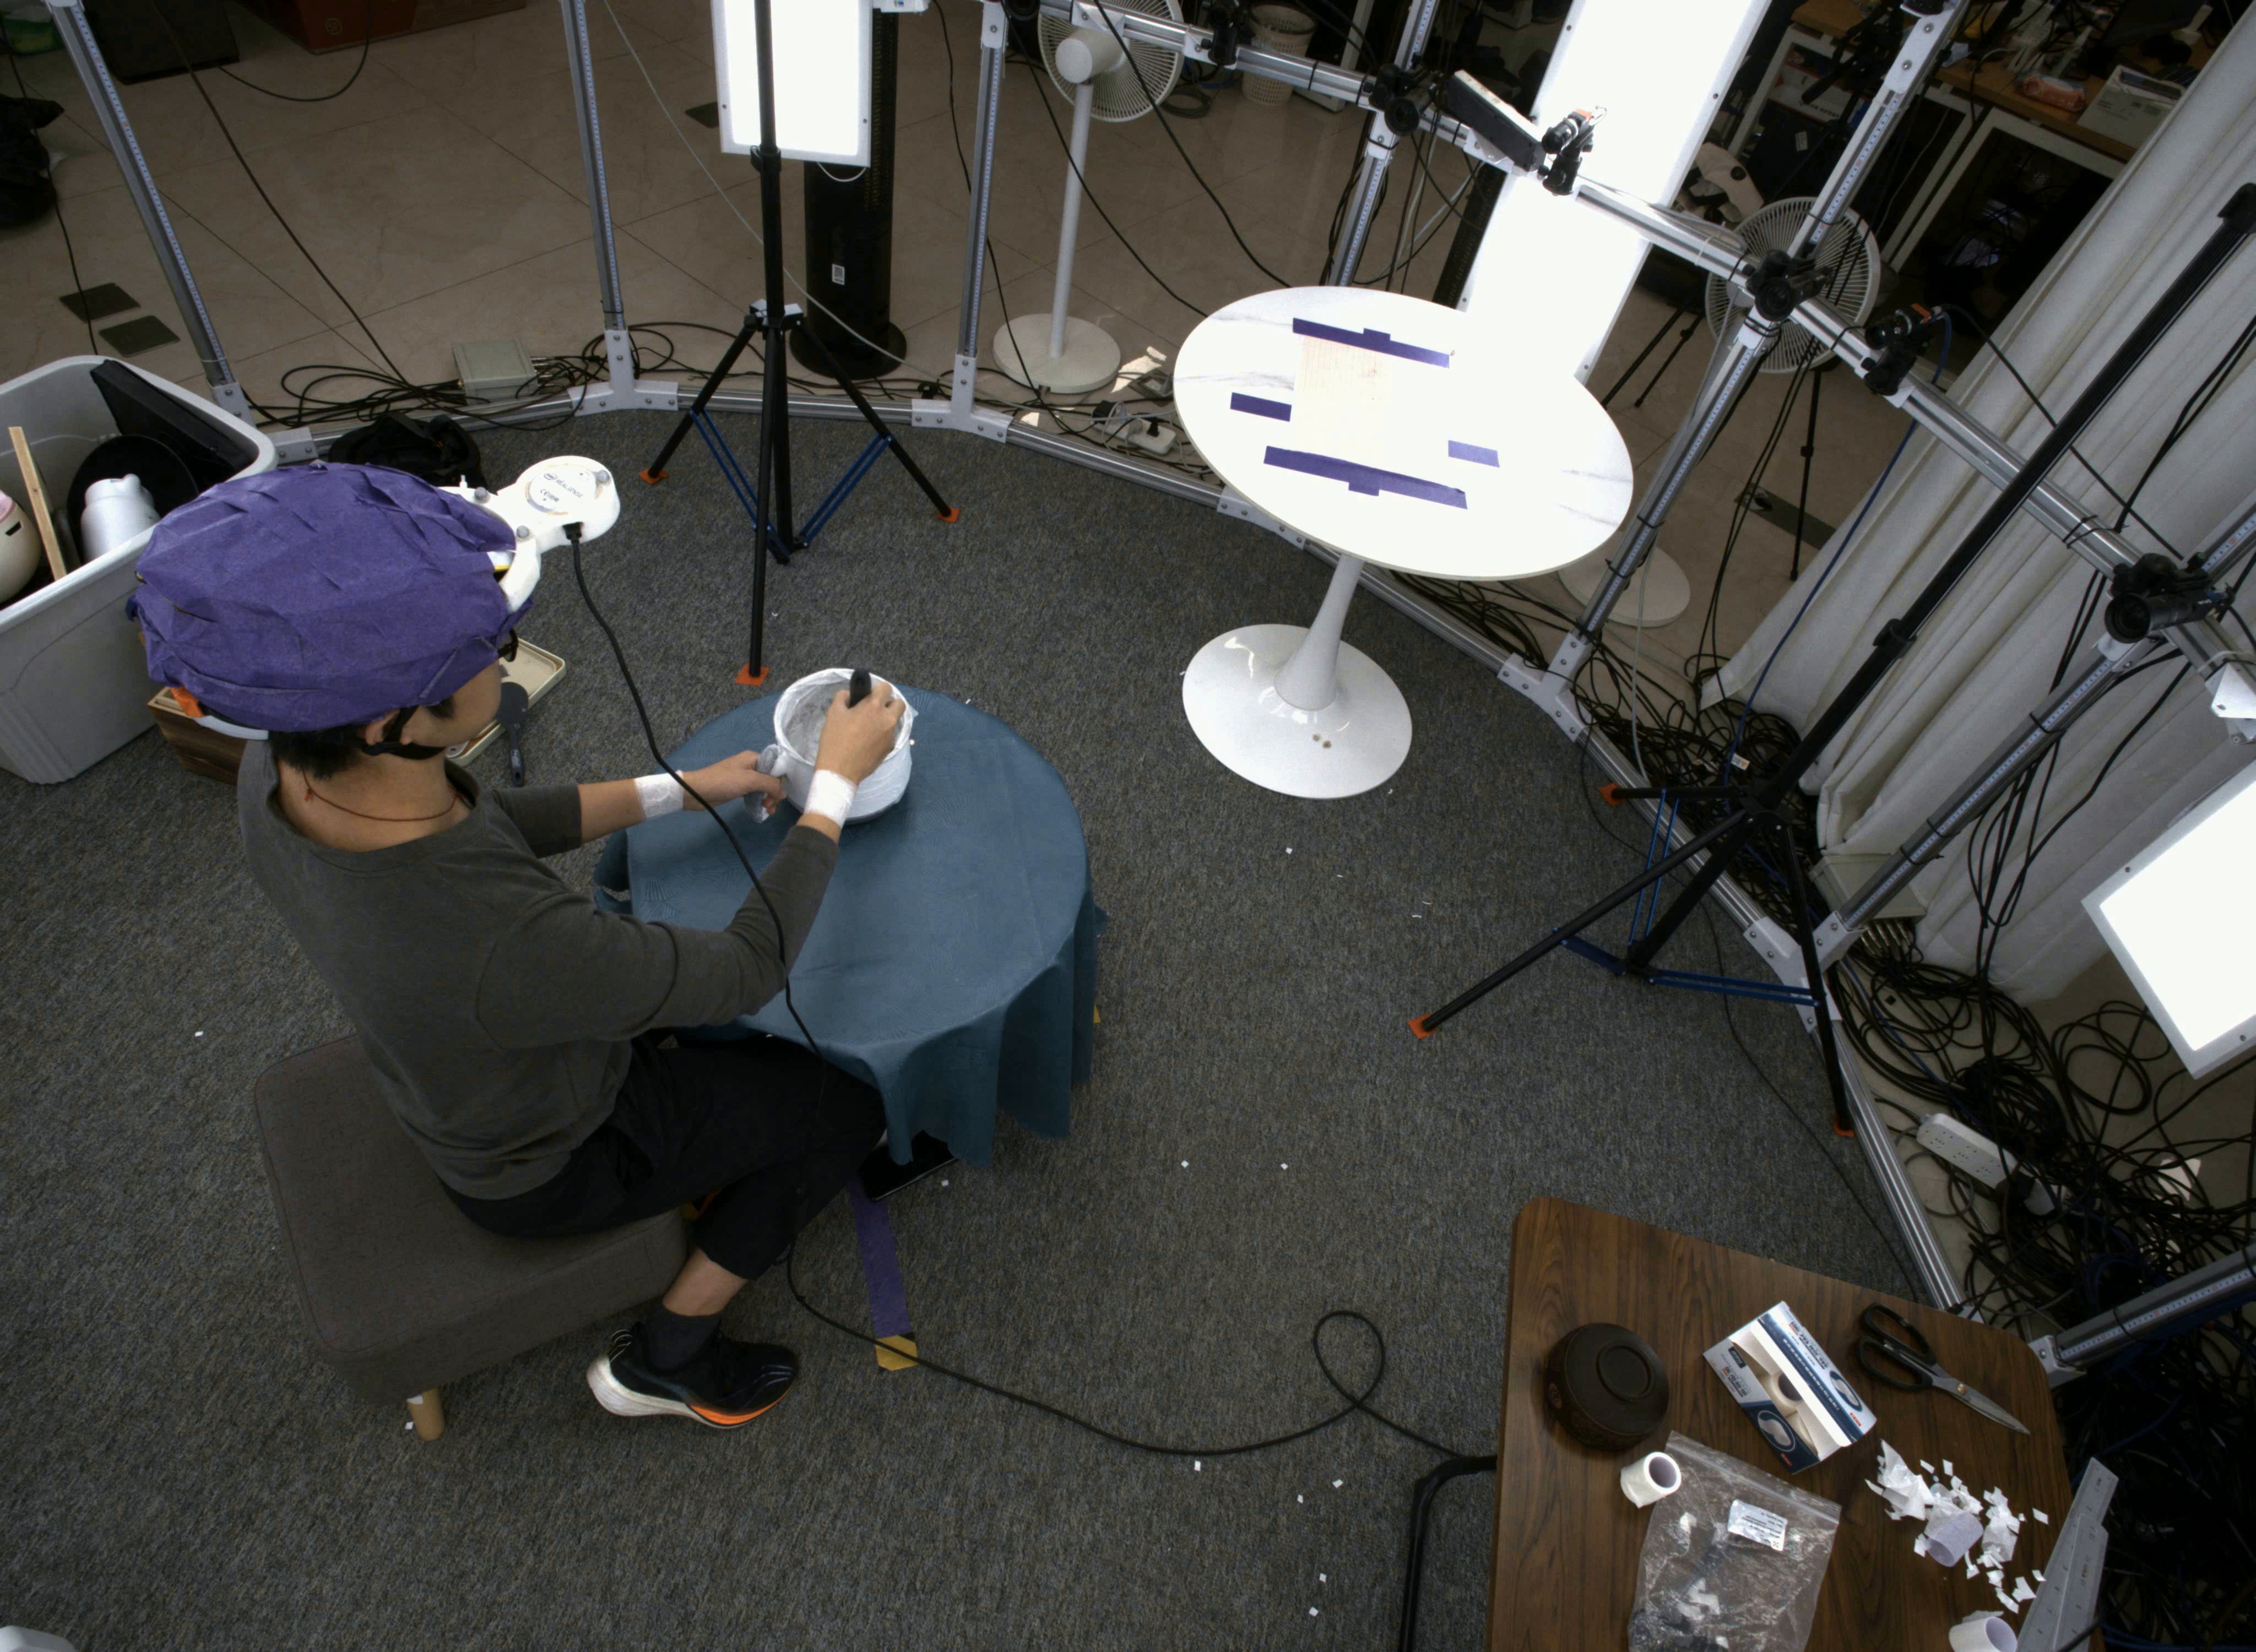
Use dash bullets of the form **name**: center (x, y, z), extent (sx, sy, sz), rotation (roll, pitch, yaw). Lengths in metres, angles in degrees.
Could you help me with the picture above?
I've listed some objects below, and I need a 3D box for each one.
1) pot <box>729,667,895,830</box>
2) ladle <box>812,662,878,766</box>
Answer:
- **pot**: center (-0.420, -0.088, 1.713), extent (0.234, 0.139, 0.174), rotation (-31, 65, -30)
- **ladle**: center (-0.349, -0.147, 1.587), extent (0.086, 0.315, 0.063), rotation (3, 70, -11)
